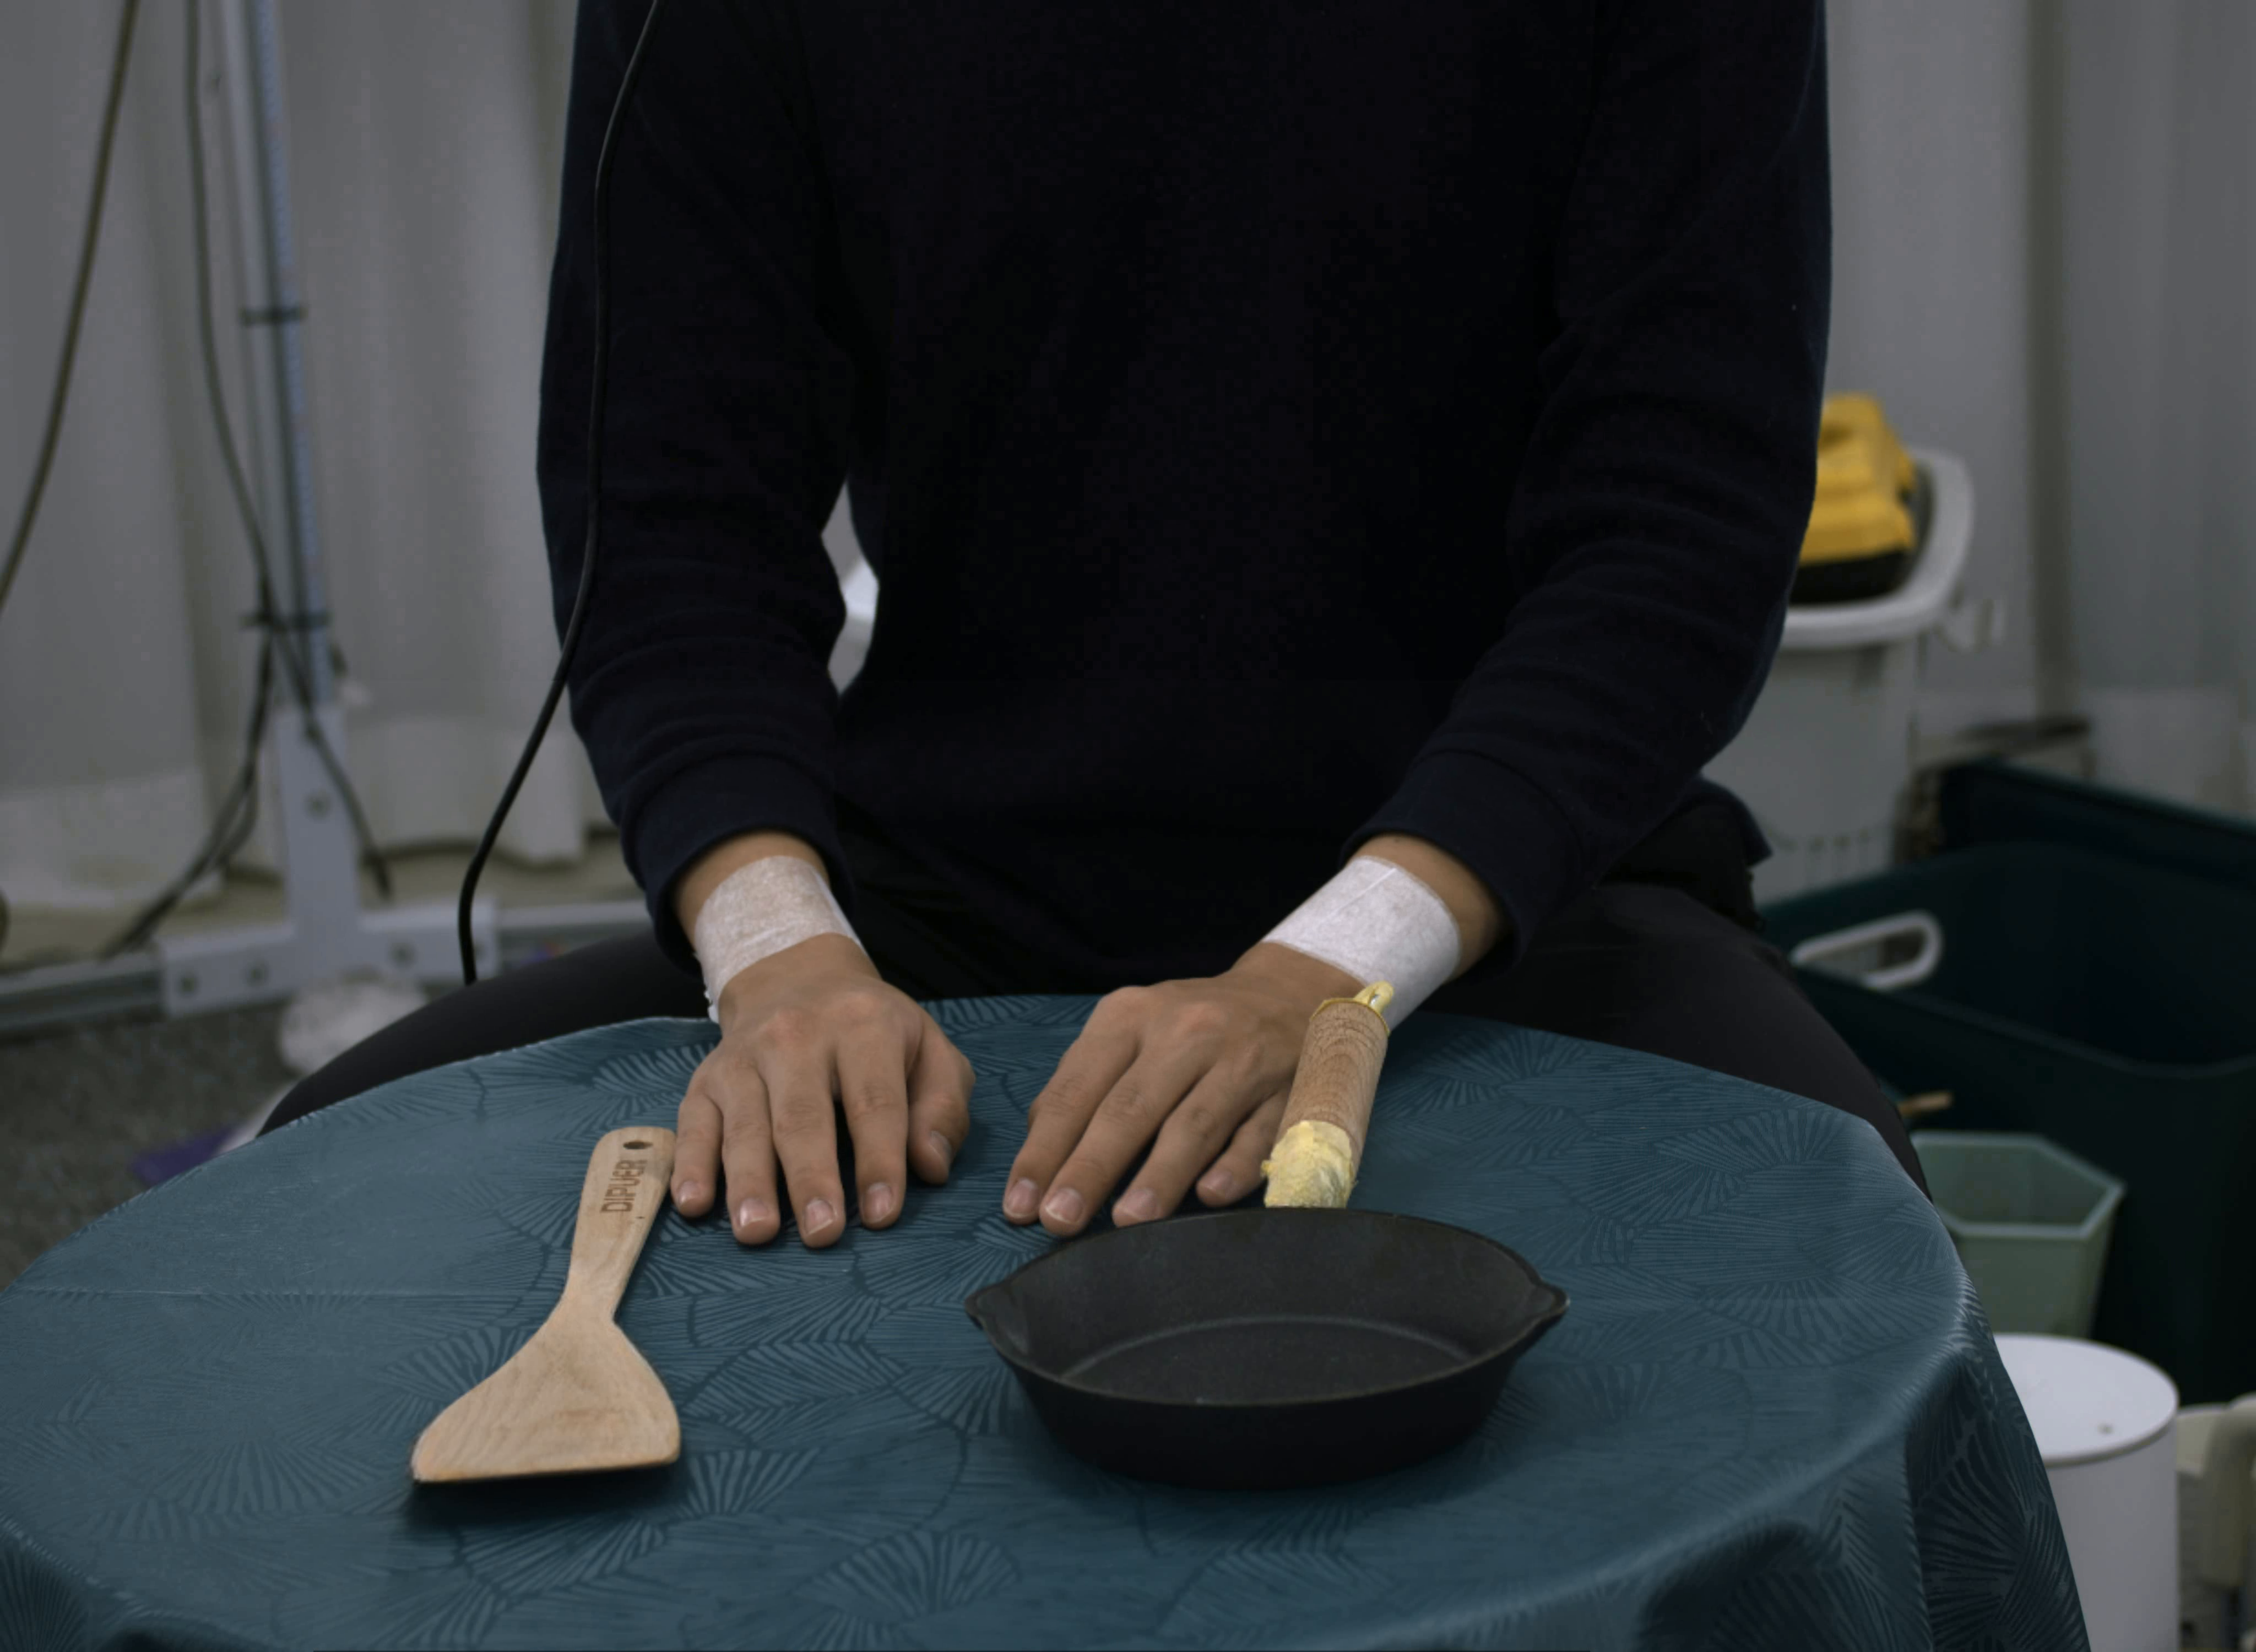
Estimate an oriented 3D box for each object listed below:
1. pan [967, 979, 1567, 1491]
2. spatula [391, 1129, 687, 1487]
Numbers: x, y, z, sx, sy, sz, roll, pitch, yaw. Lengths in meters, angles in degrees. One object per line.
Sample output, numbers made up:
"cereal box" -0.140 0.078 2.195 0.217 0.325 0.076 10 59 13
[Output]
"pan" 0.053 0.116 1.602 0.168 0.049 0.326 0 17 10
"spatula" -0.159 0.140 1.624 0.079 0.016 0.330 -2 15 1
